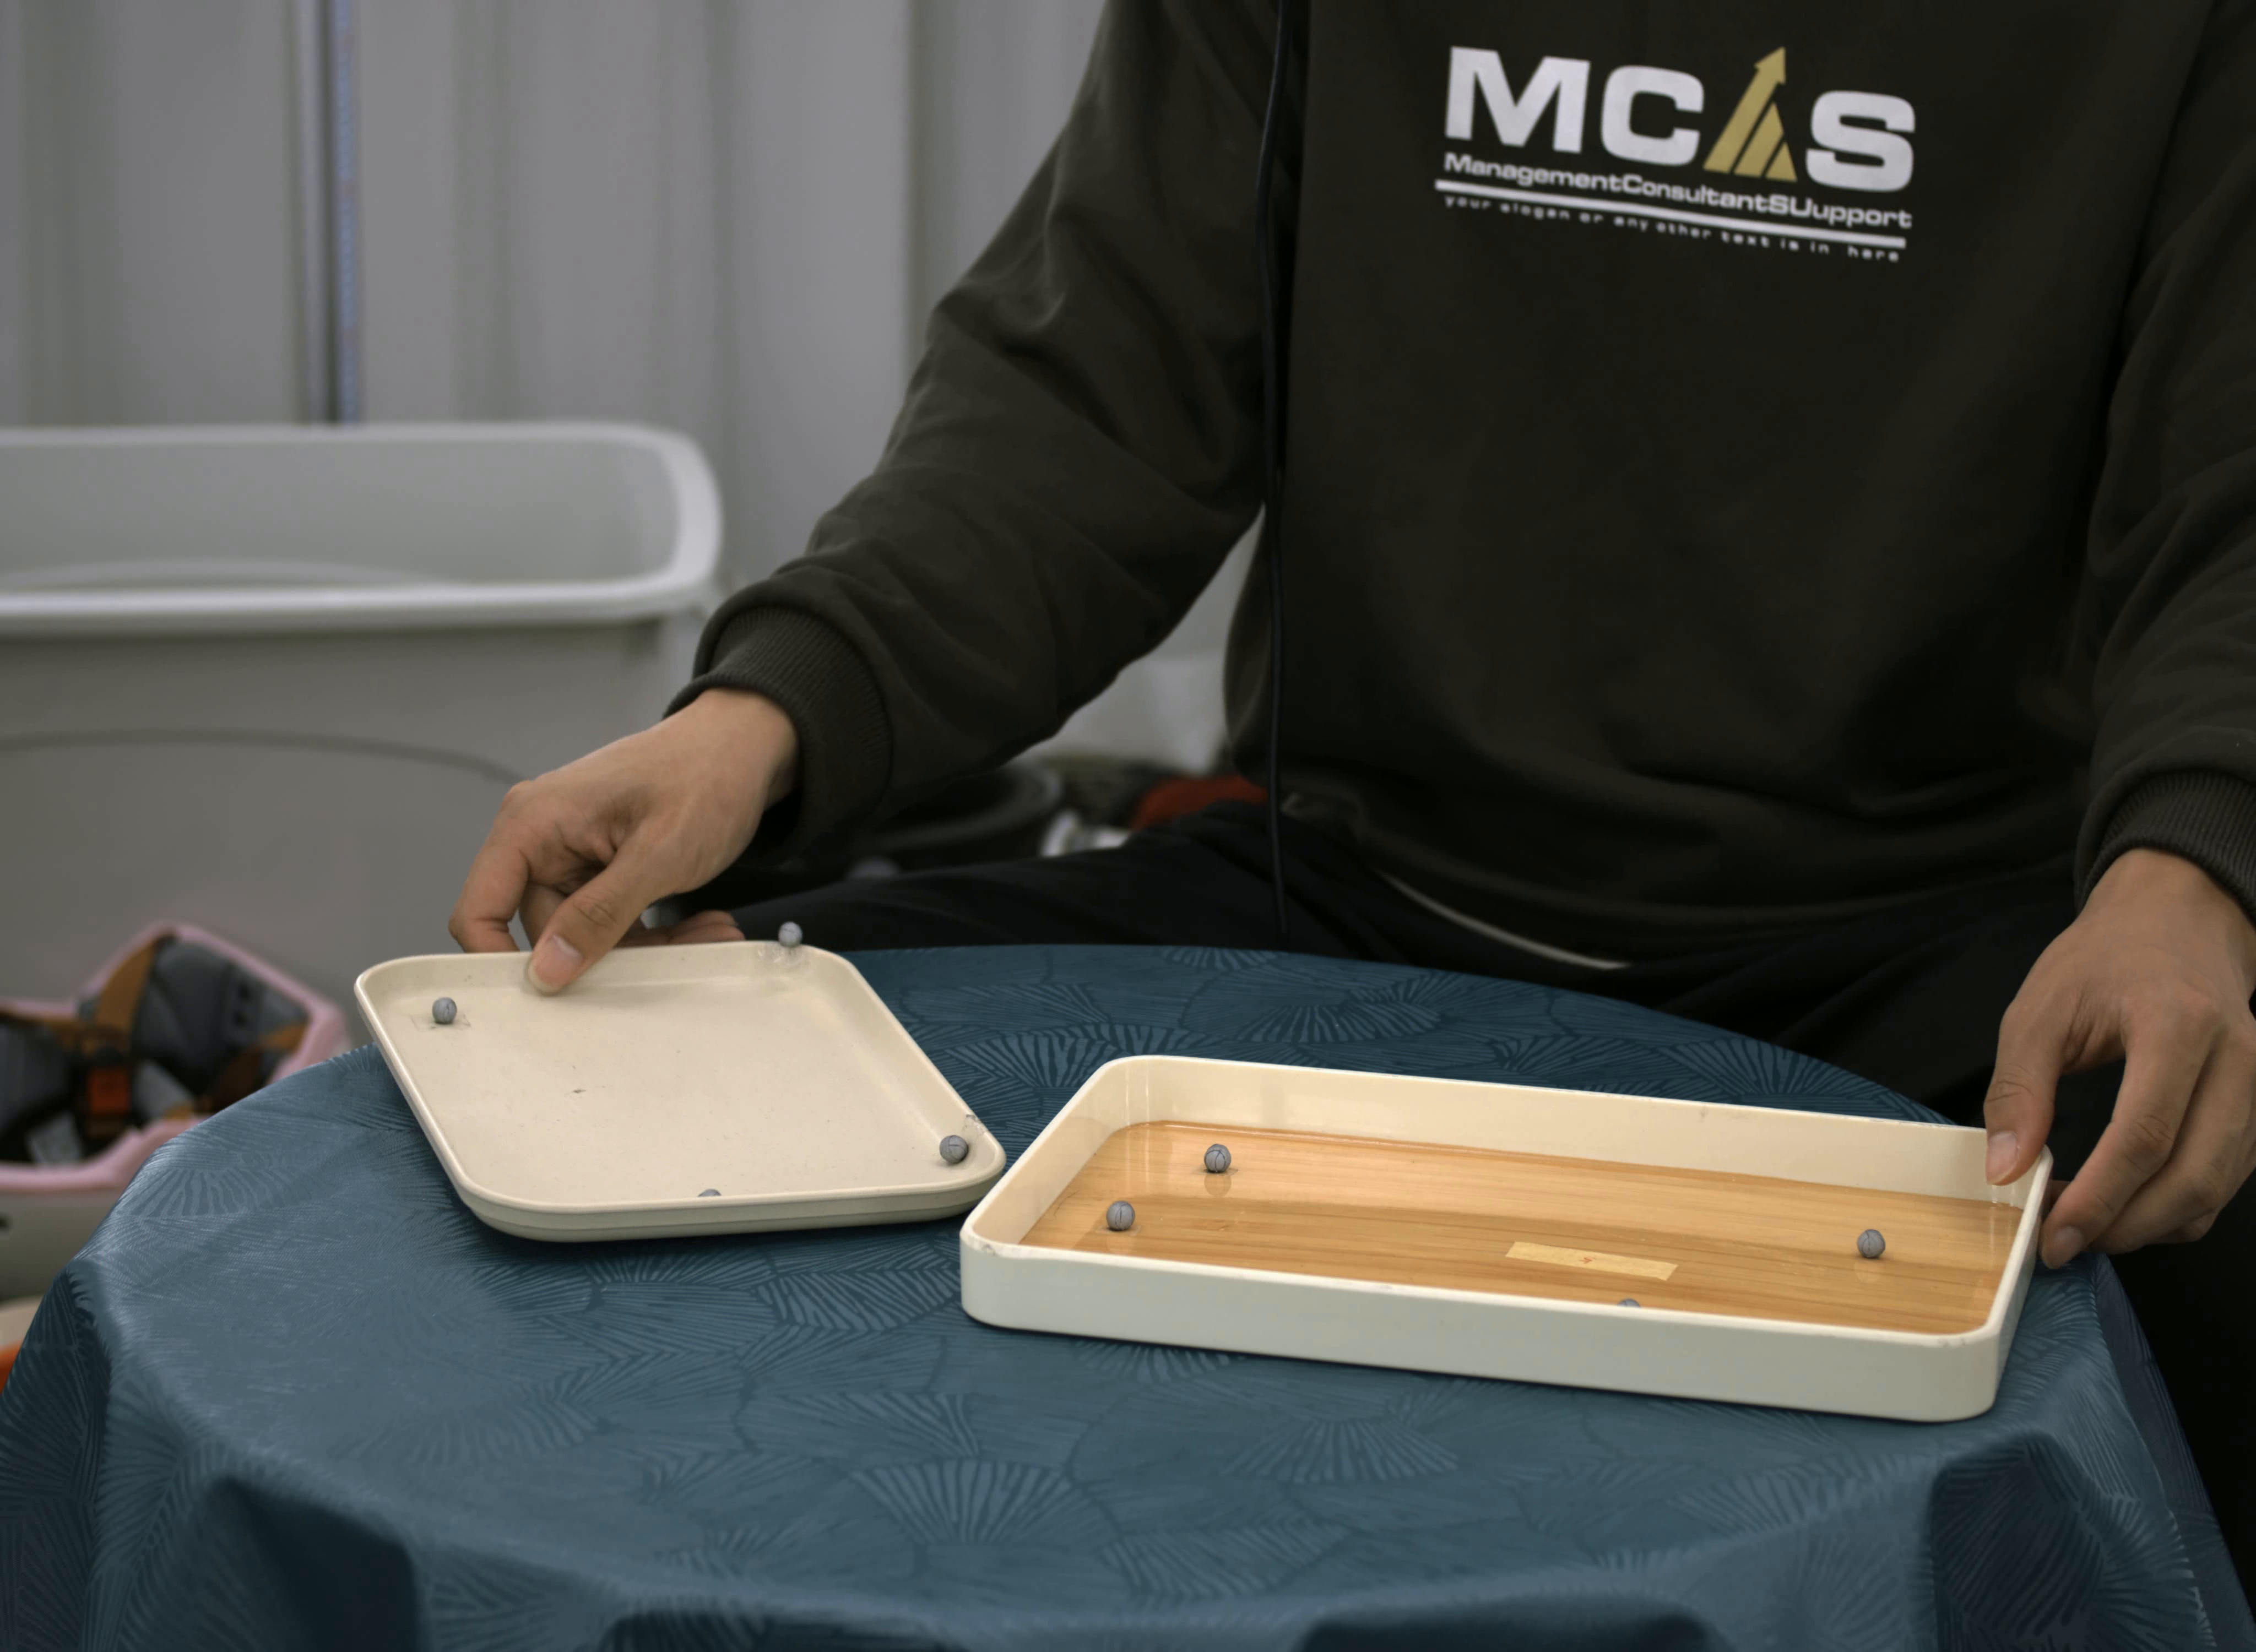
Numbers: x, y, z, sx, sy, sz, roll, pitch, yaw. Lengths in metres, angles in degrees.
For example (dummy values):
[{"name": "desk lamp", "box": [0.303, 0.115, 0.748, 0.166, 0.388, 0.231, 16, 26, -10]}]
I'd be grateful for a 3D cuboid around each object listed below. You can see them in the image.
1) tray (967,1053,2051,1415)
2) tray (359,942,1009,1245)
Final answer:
[{"name": "tray", "box": [0.117, 0.118, 1.566, 0.298, 0.027, 0.191, 5, 16, 13]}, {"name": "tray", "box": [-0.145, 0.083, 1.675, 0.171, 0.017, 0.237, -2, 18, -18]}]
